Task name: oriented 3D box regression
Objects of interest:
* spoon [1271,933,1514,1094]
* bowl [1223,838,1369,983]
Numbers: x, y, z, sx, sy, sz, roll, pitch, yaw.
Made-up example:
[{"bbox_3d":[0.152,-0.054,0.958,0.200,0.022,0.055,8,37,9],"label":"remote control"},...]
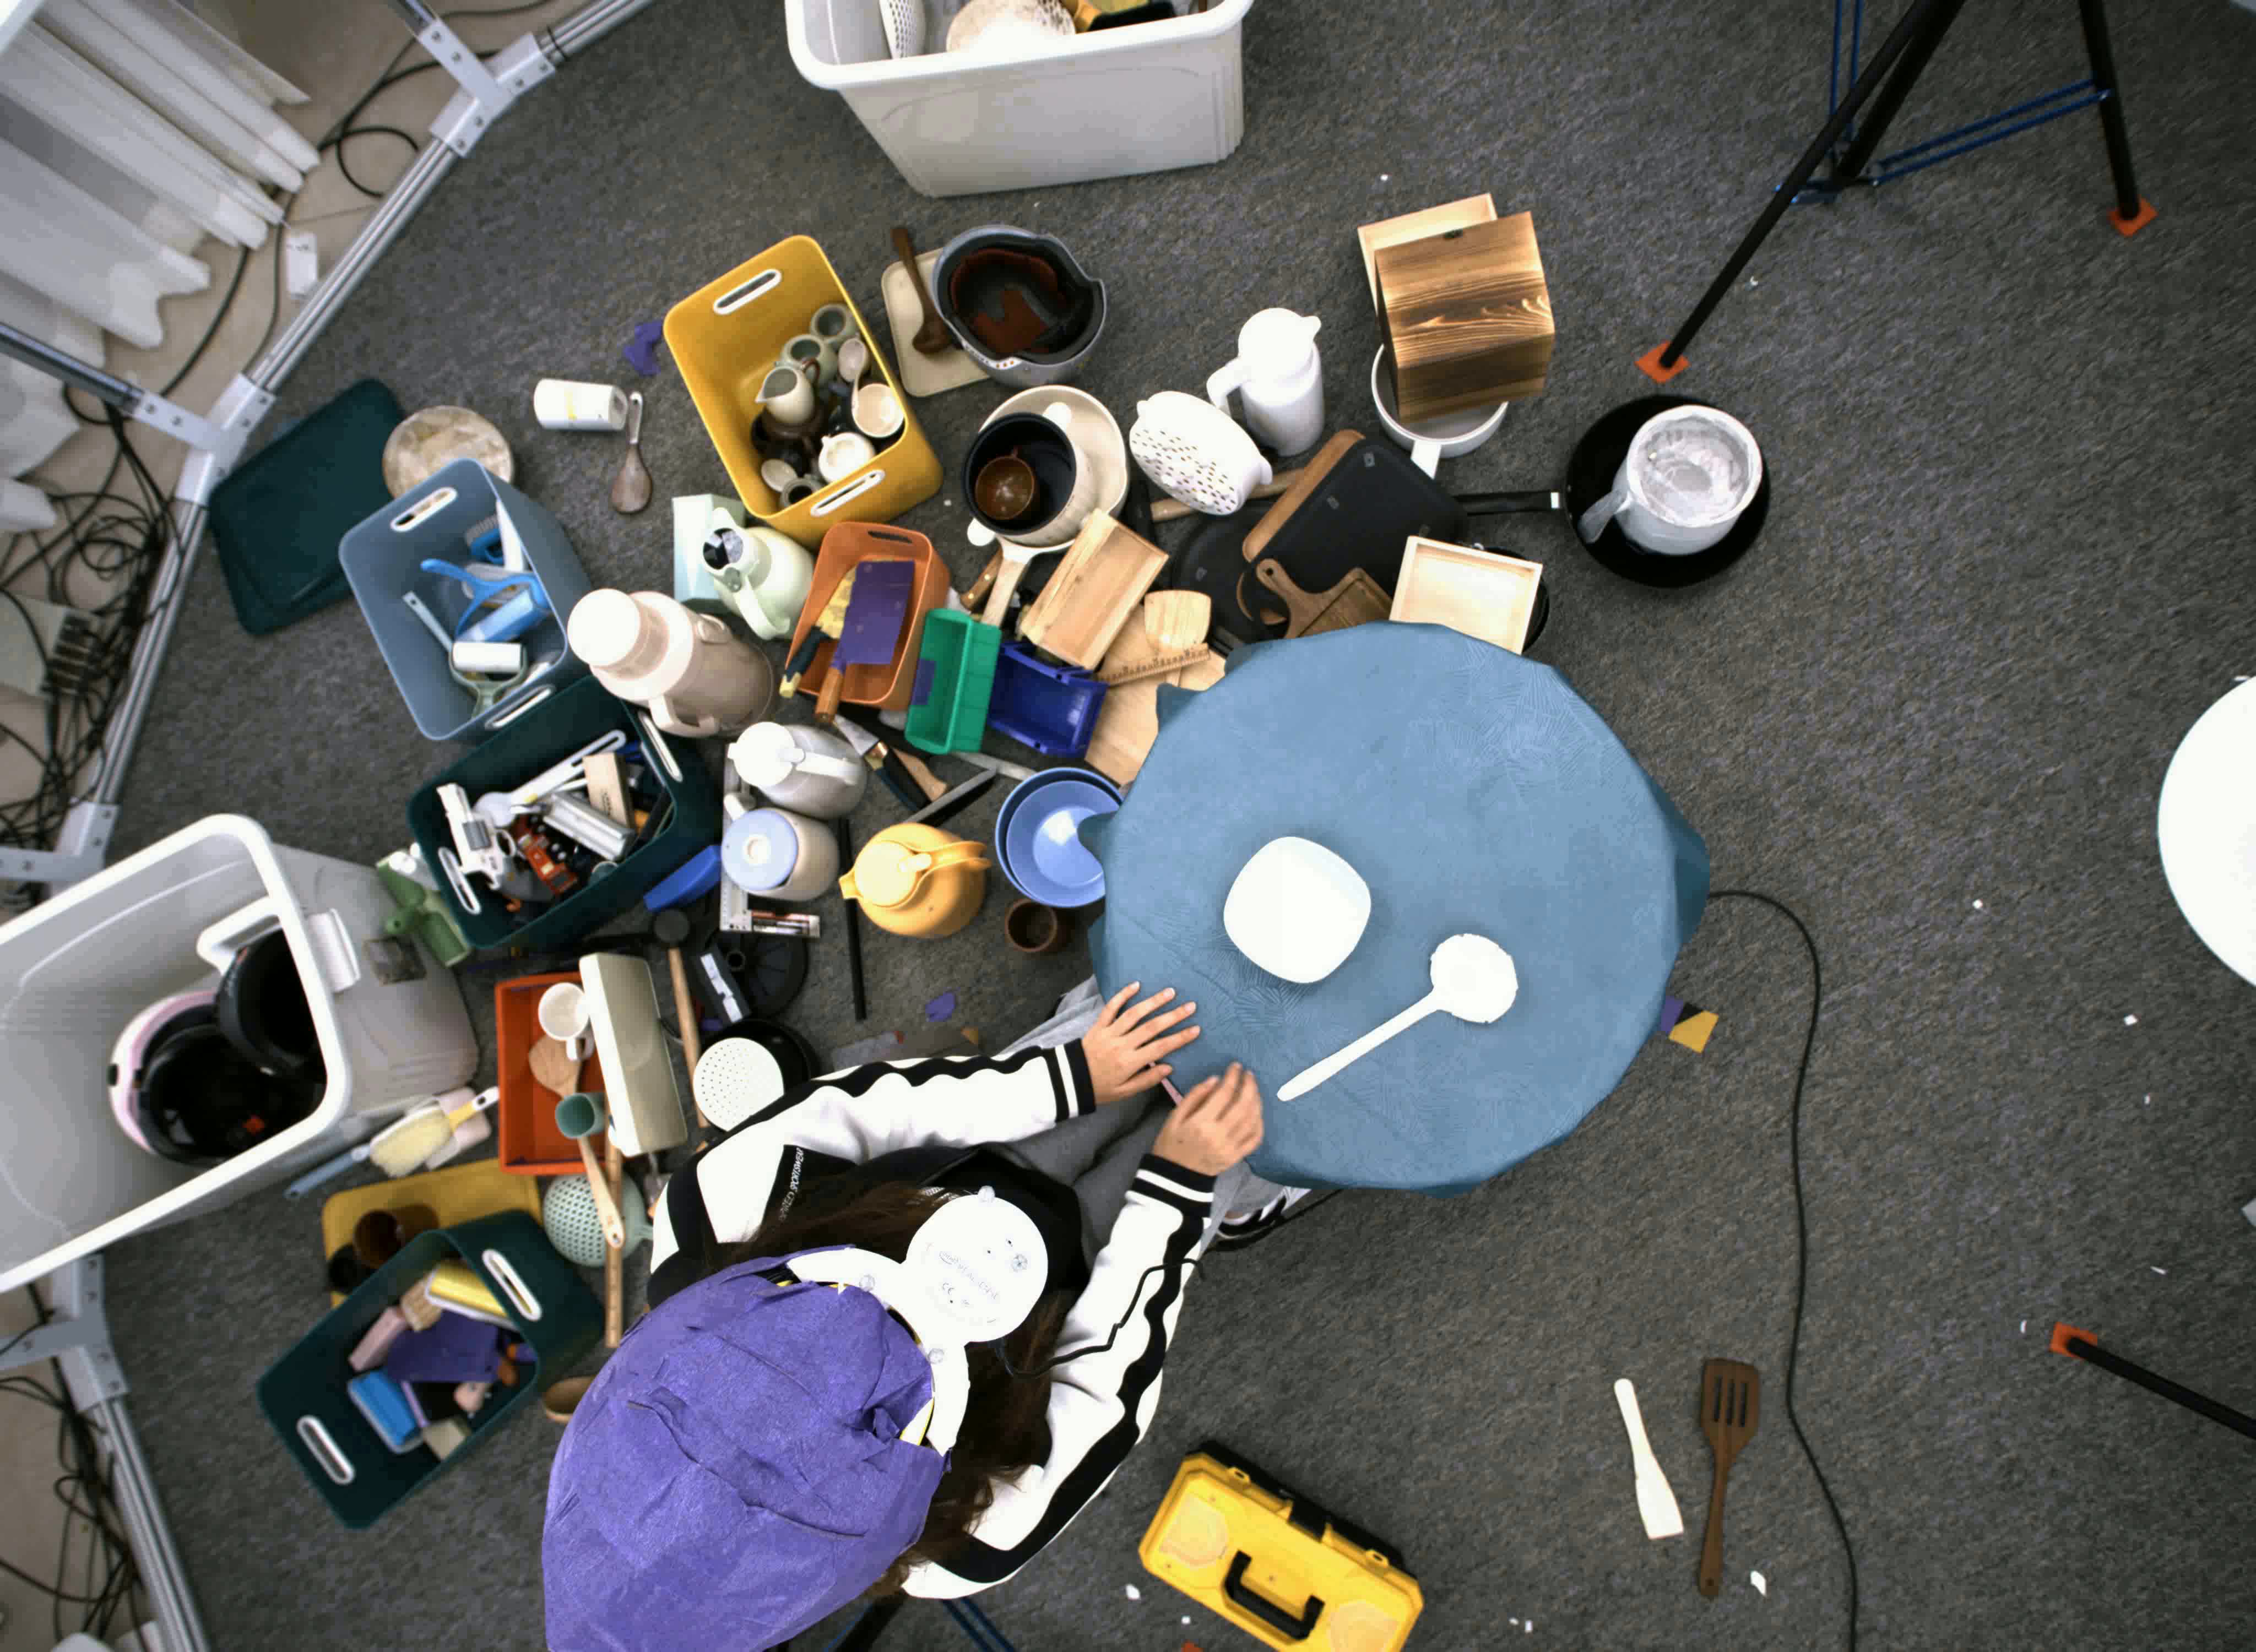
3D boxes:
[{"bbox_3d":[0.264,0.200,1.425,0.279,0.059,0.100,-30,76,7],"label":"spoon"},{"bbox_3d":[0.177,0.089,1.450,0.152,0.058,0.151,-1,86,10],"label":"bowl"}]
